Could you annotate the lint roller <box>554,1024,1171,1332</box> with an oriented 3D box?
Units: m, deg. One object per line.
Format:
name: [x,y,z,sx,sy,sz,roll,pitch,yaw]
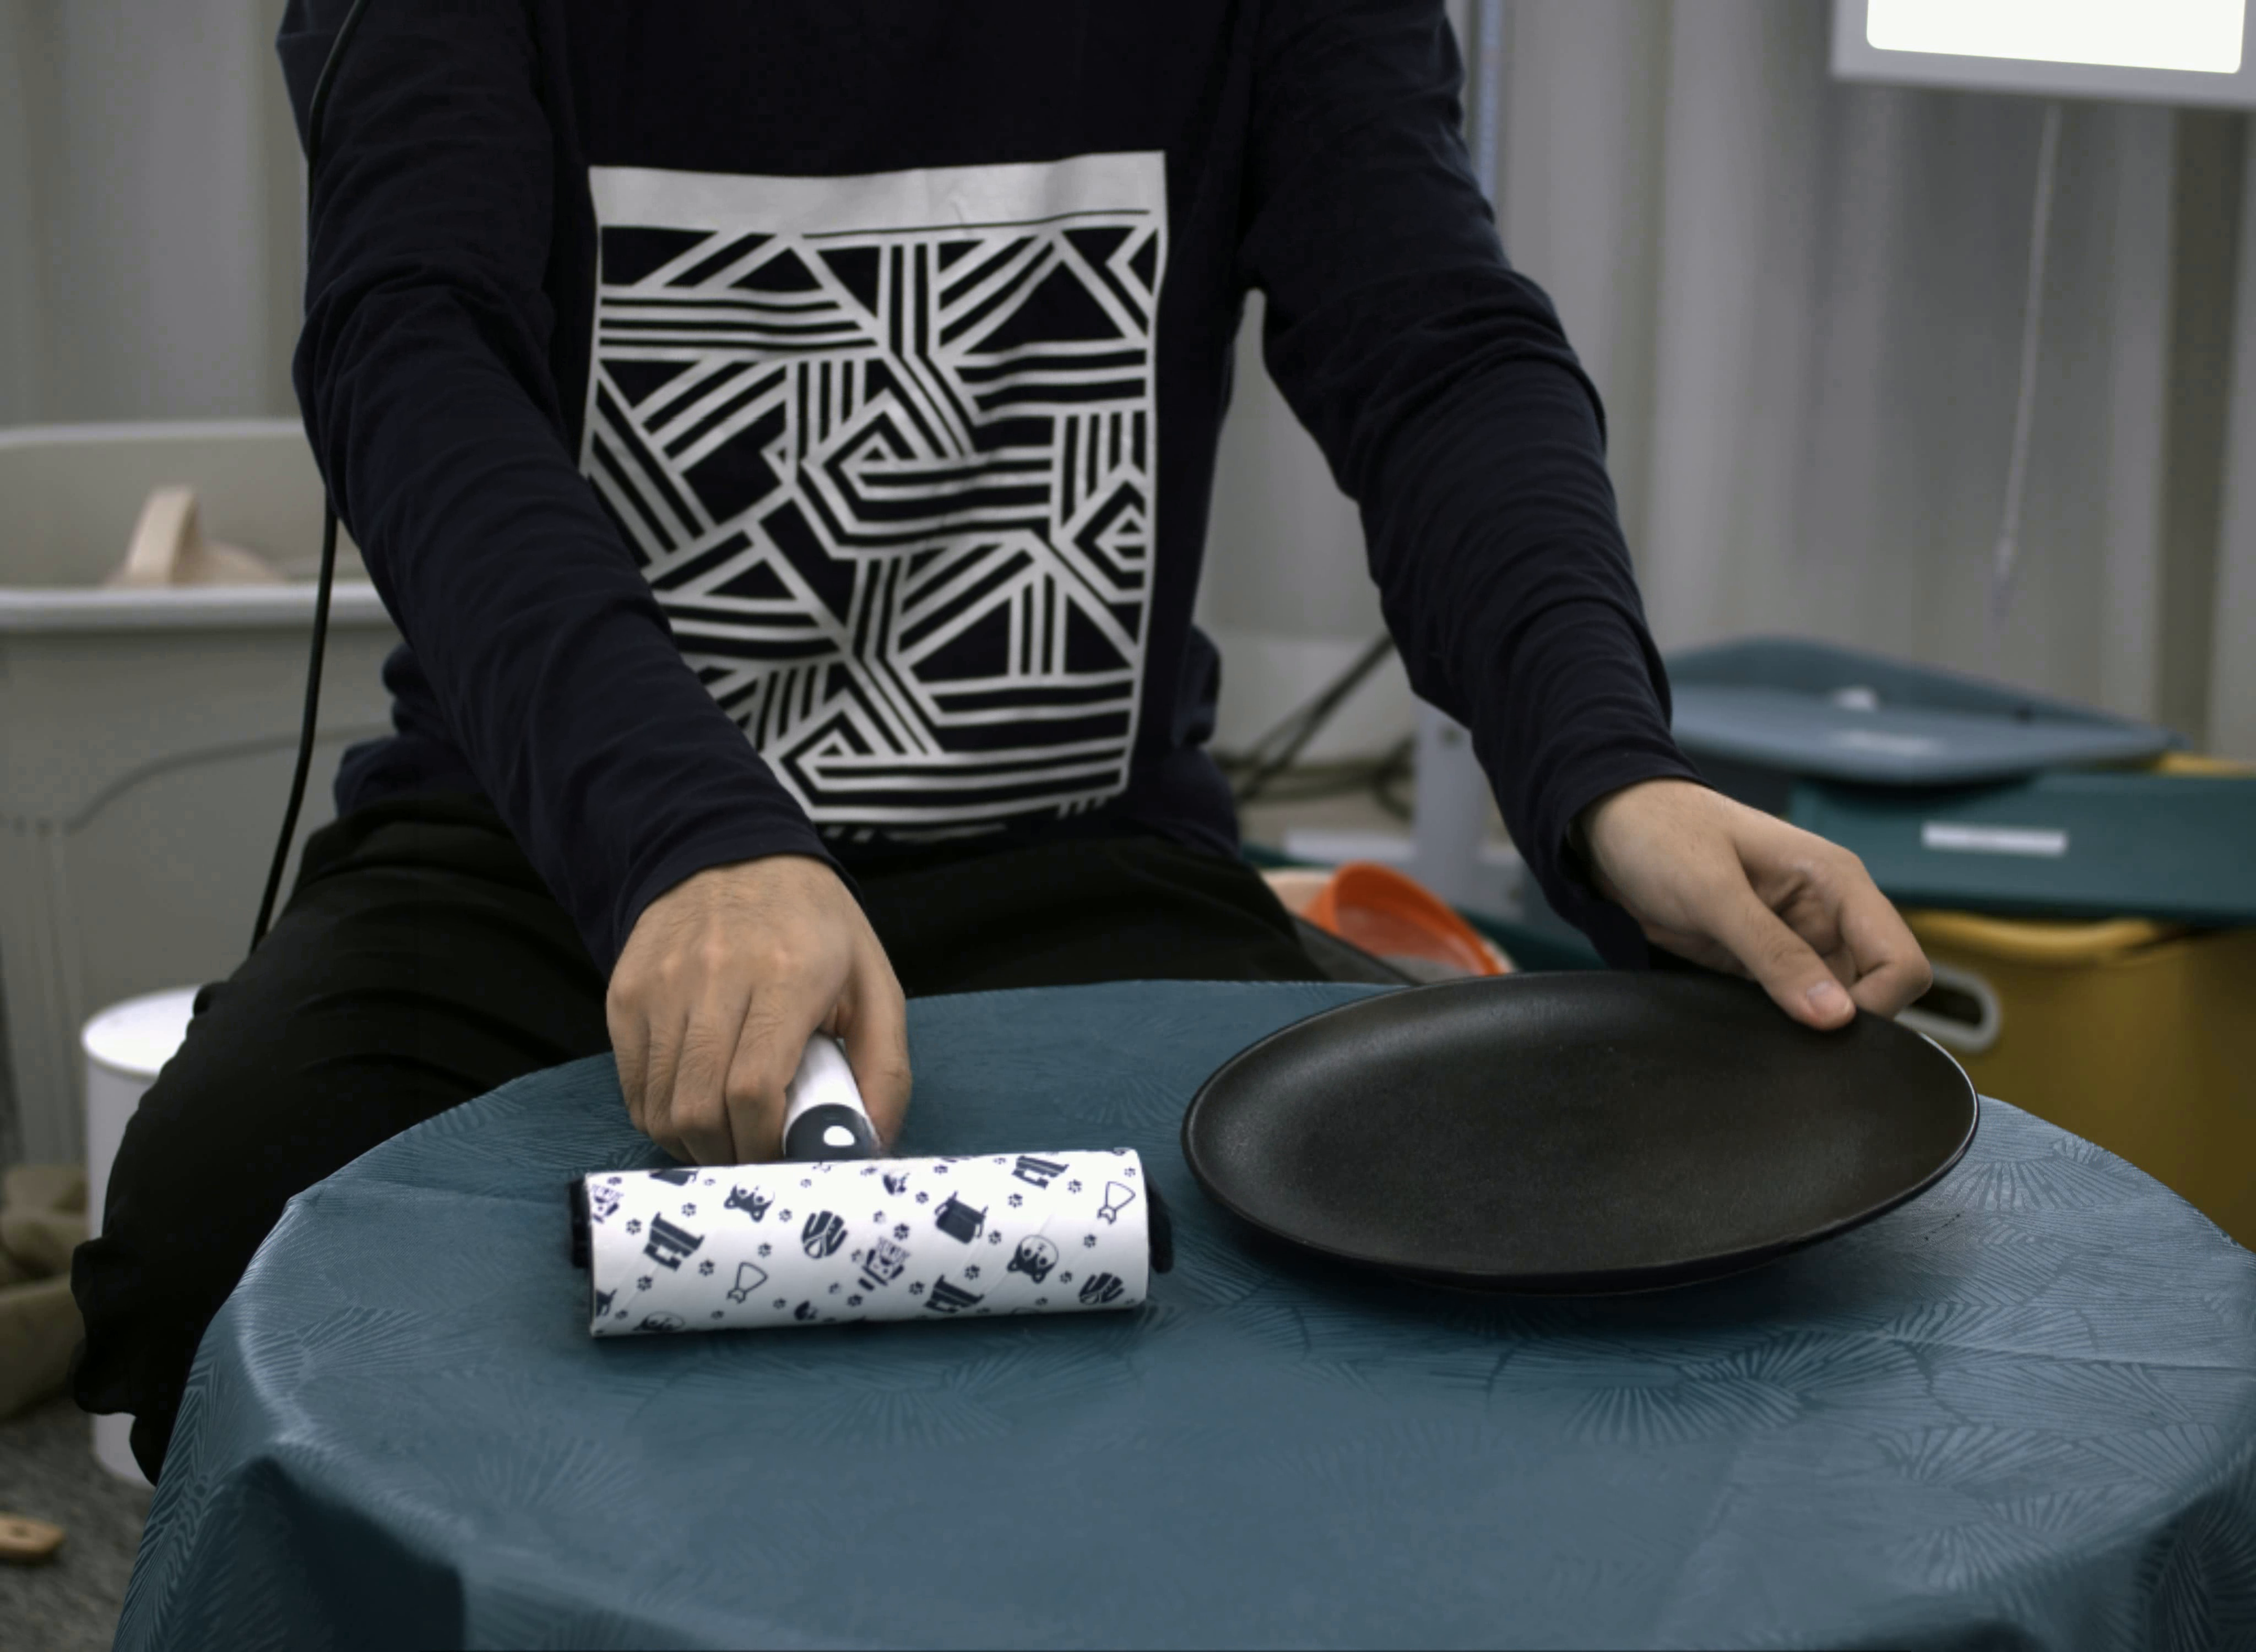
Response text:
lint roller: [-0.093,0.094,1.604,0.176,0.051,0.245,-3,14,-9]

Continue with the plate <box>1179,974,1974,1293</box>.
plate: [0.137,0.097,1.616,0.243,0.023,0.243,-3,19,2]
